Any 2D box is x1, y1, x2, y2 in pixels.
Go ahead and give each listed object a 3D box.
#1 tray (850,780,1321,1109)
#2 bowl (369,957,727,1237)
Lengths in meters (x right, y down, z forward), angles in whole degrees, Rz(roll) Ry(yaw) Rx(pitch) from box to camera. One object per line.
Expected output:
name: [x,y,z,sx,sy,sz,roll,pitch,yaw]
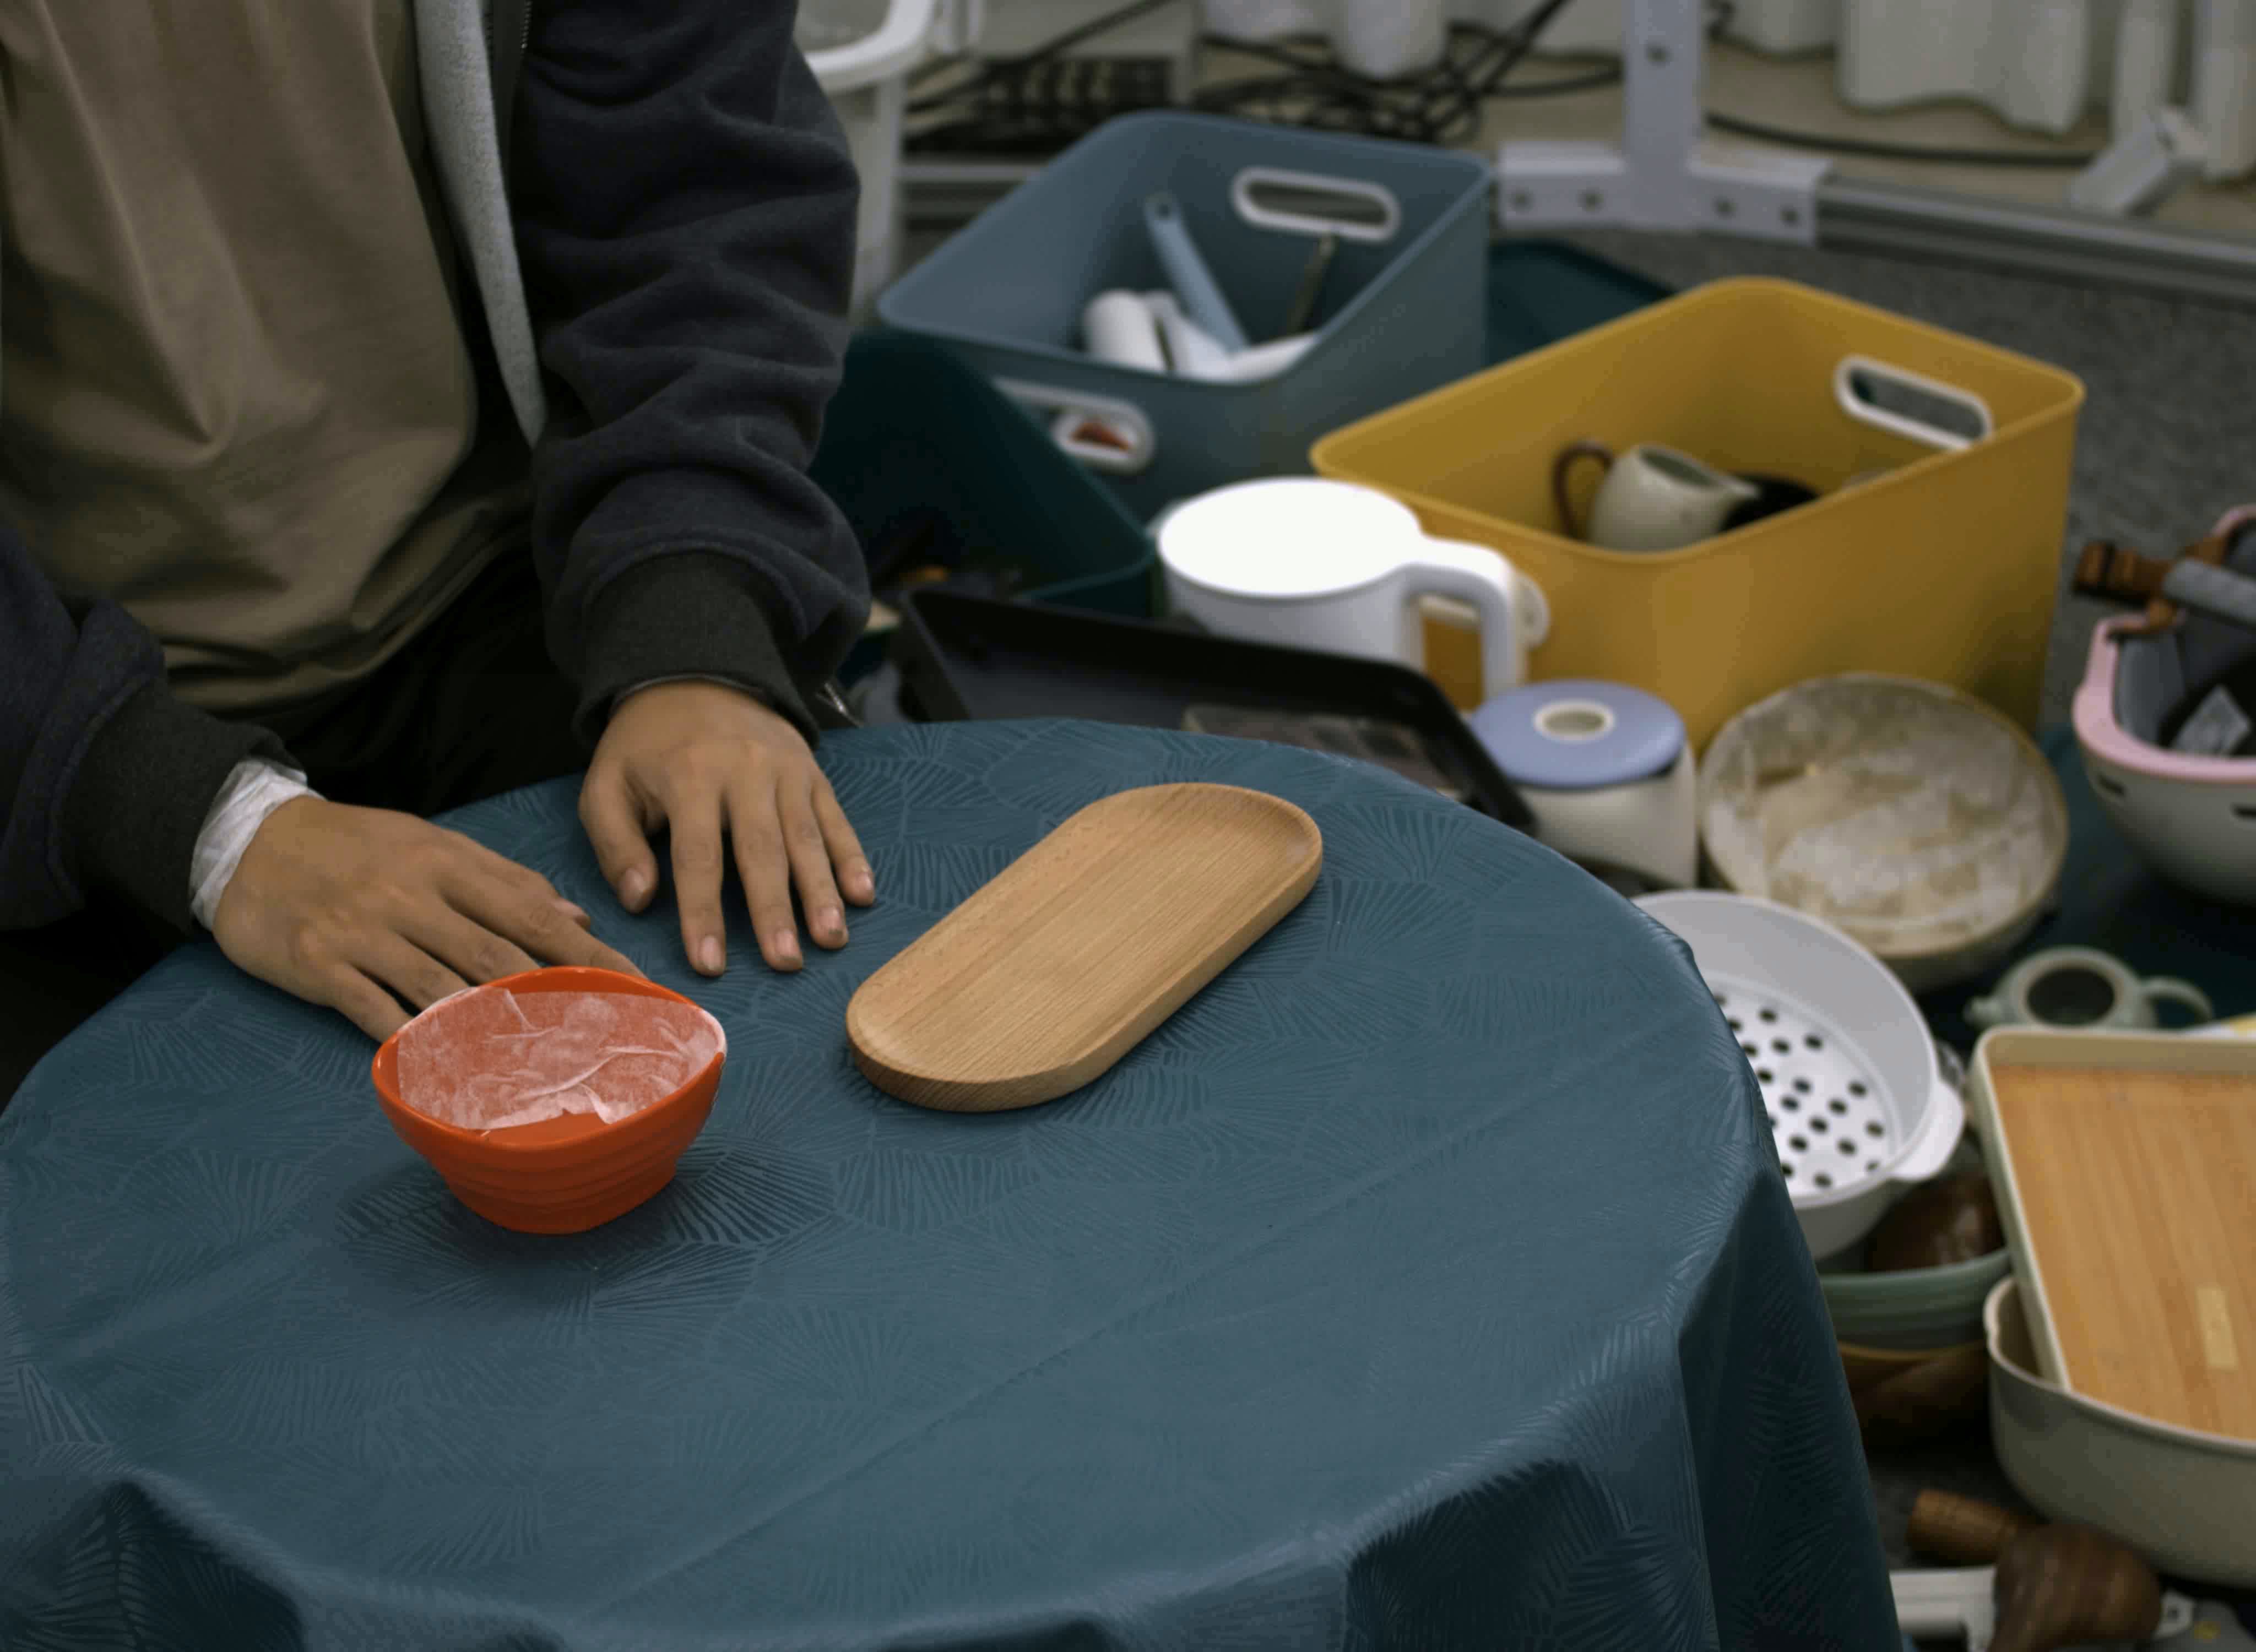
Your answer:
tray: [-0.013,0.040,2.002,0.101,0.020,0.235,13,30,27]
bowl: [-0.192,0.095,1.873,0.118,0.051,0.121,-1,29,1]
